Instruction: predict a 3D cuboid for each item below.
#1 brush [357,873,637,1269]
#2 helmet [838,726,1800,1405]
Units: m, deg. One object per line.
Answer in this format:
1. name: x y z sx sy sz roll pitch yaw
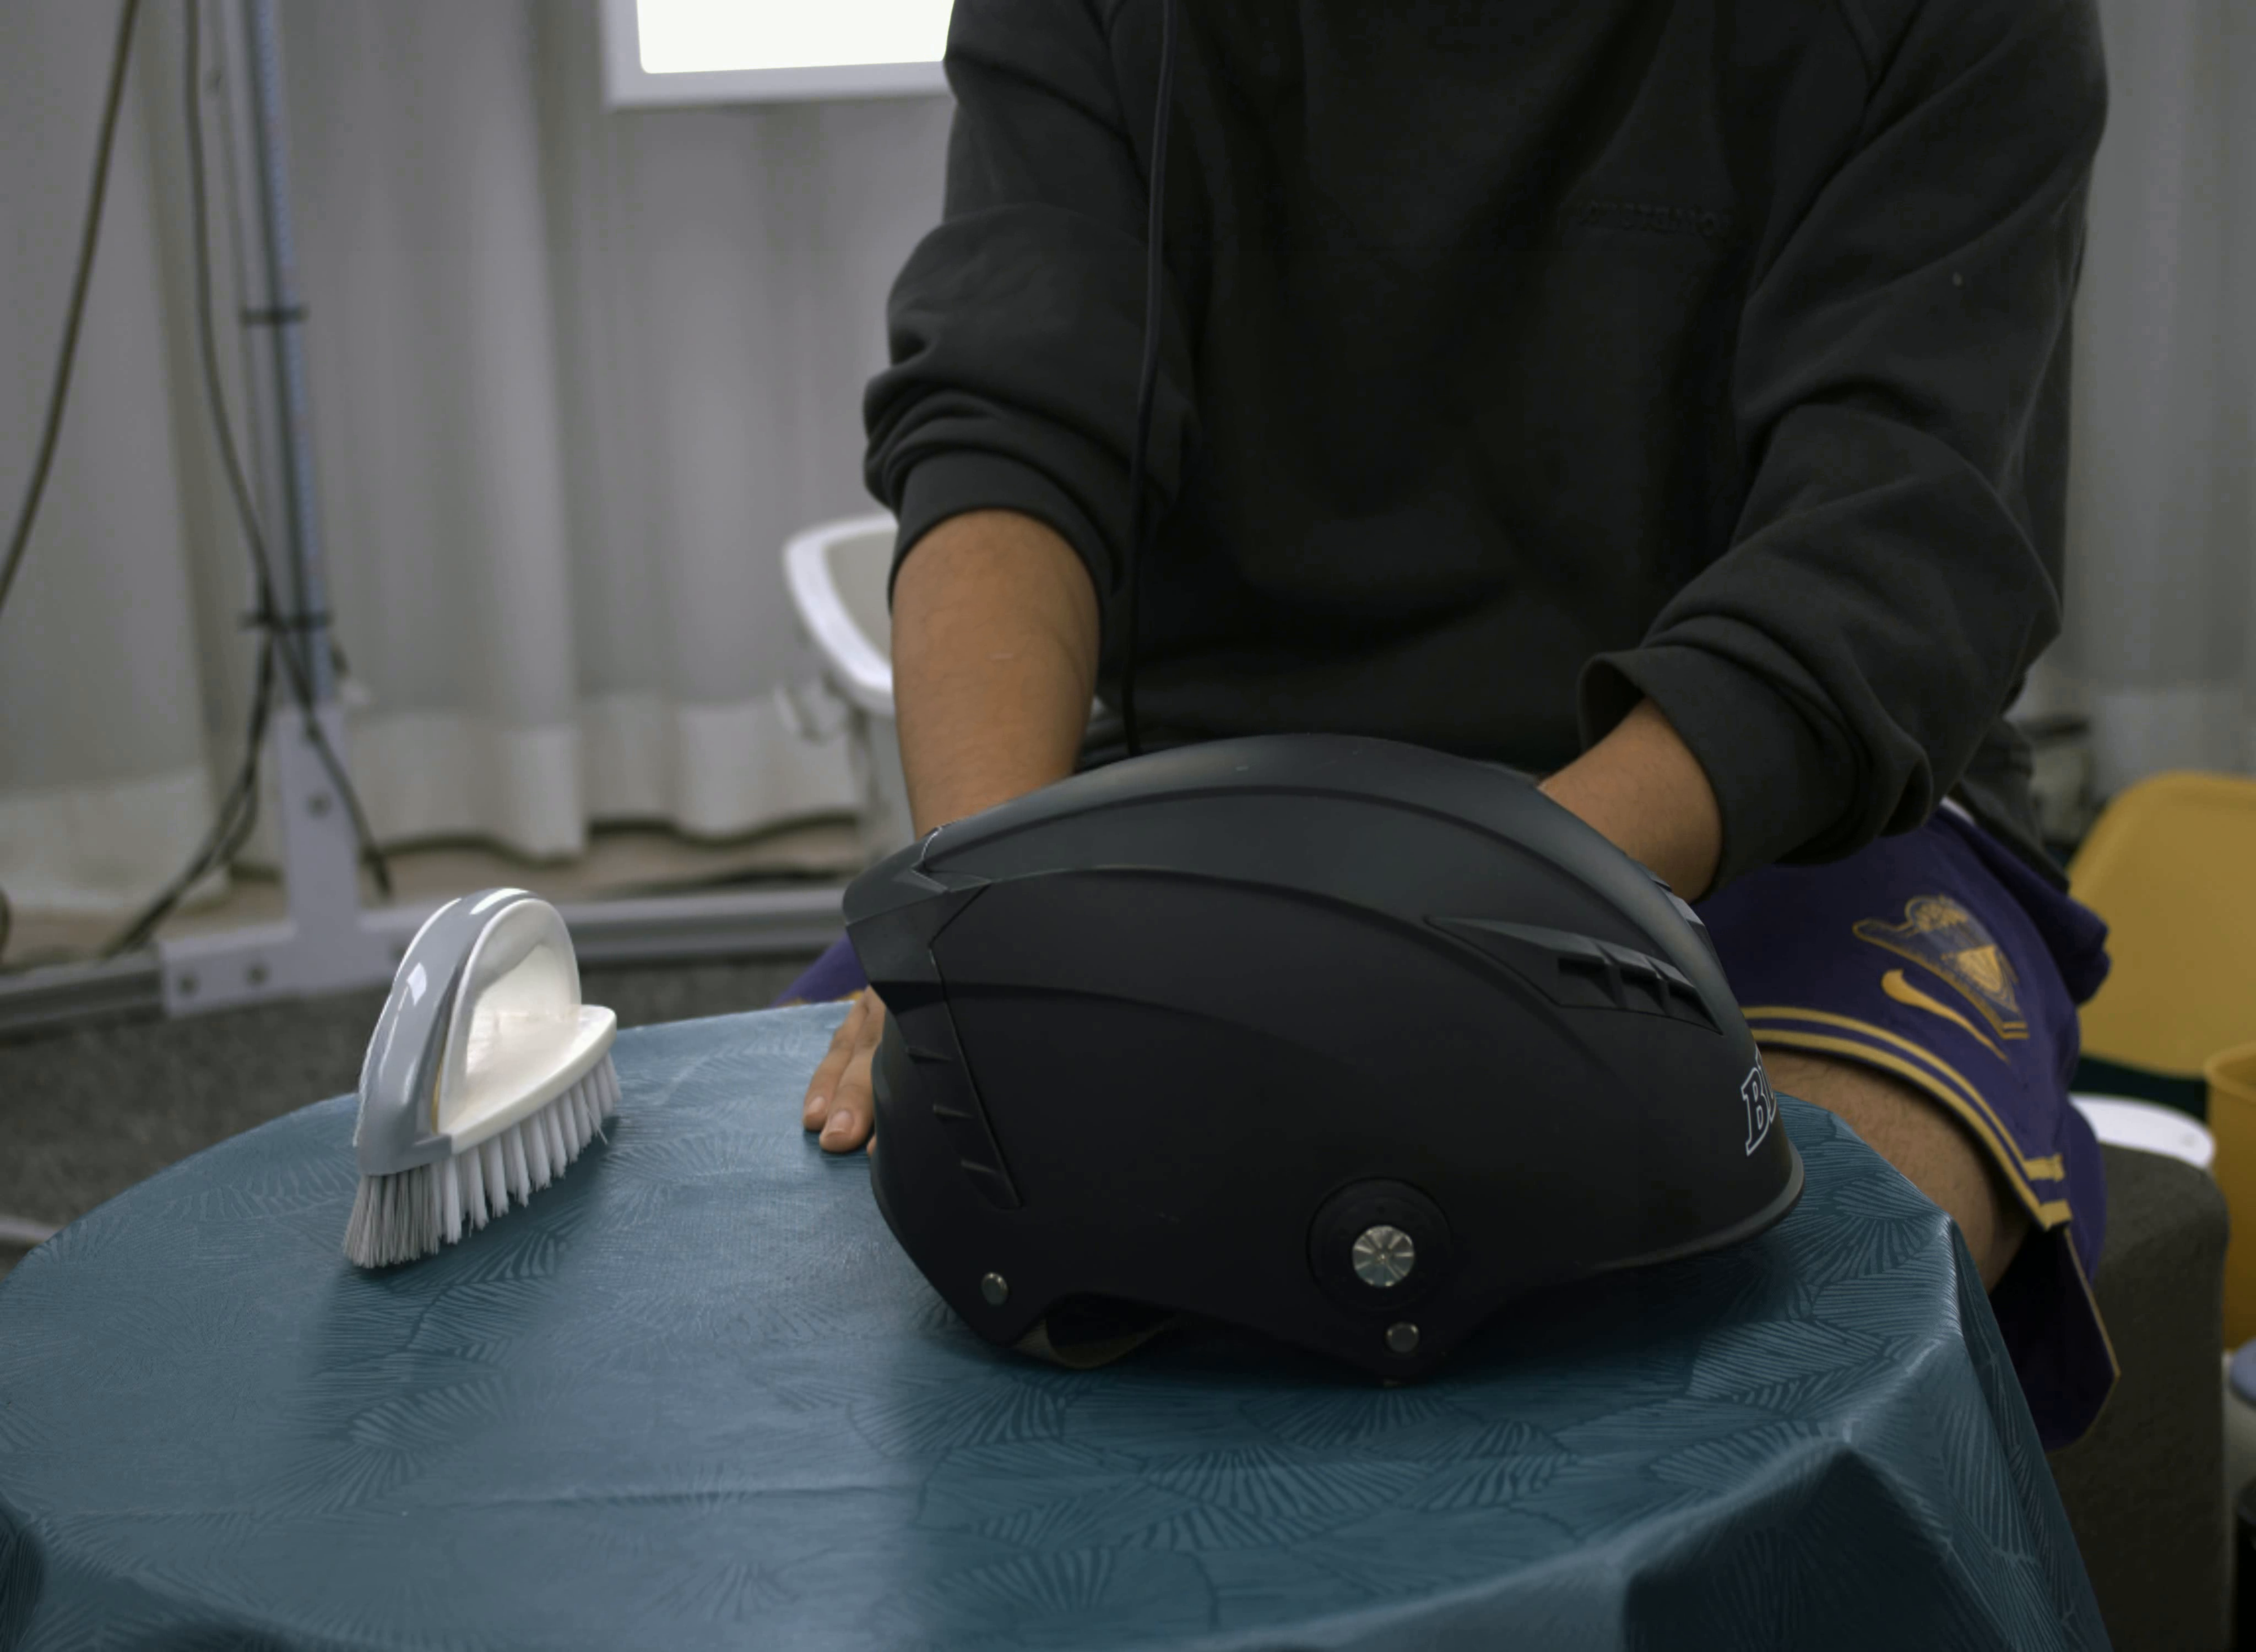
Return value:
1. brush: -0.210 0.072 1.742 0.061 0.094 0.176 -1 16 15
2. helmet: 0.055 0.056 1.619 0.276 0.172 0.248 -4 15 12
